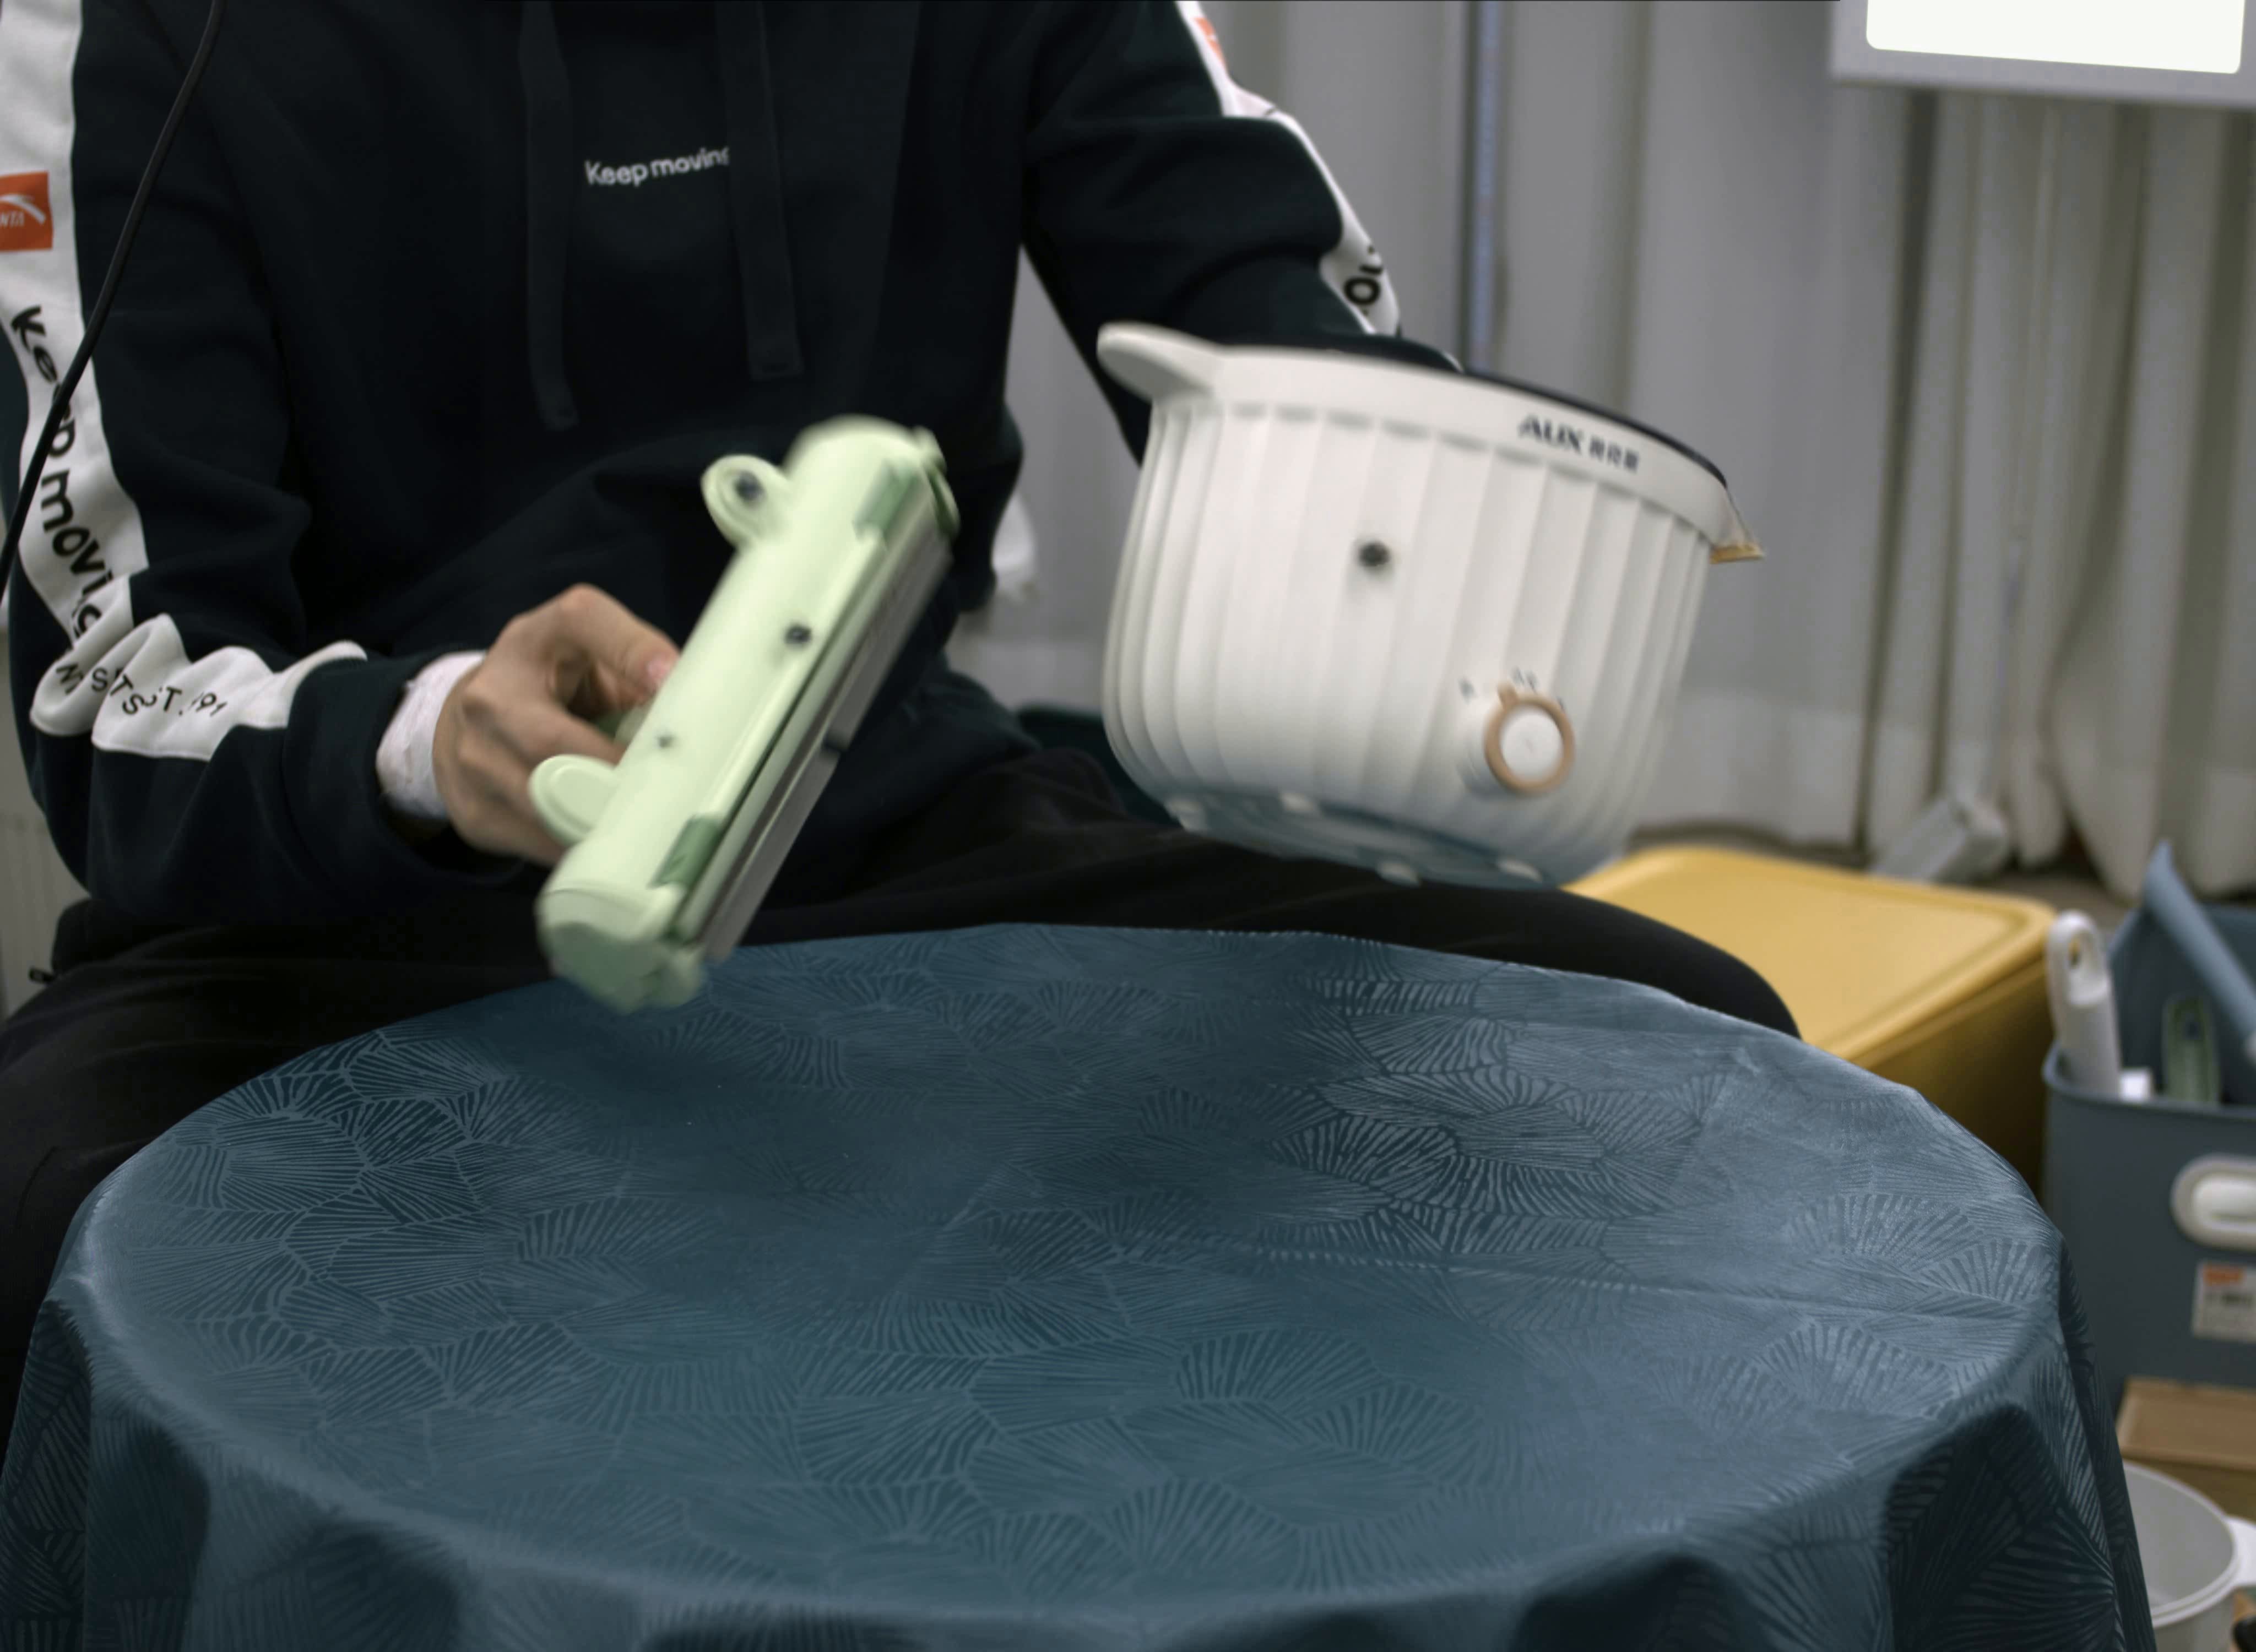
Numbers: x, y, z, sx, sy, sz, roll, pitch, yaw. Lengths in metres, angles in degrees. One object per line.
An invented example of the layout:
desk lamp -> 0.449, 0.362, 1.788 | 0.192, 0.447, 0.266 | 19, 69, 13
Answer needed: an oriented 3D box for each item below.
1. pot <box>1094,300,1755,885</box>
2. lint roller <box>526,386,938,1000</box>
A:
pot -> 0.085, -0.064, 1.634 | 0.242, 0.142, 0.189 | 17, -13, -25
lint roller -> -0.153, -0.039, 1.631 | 0.083, 0.198, 0.181 | 38, -30, -30
